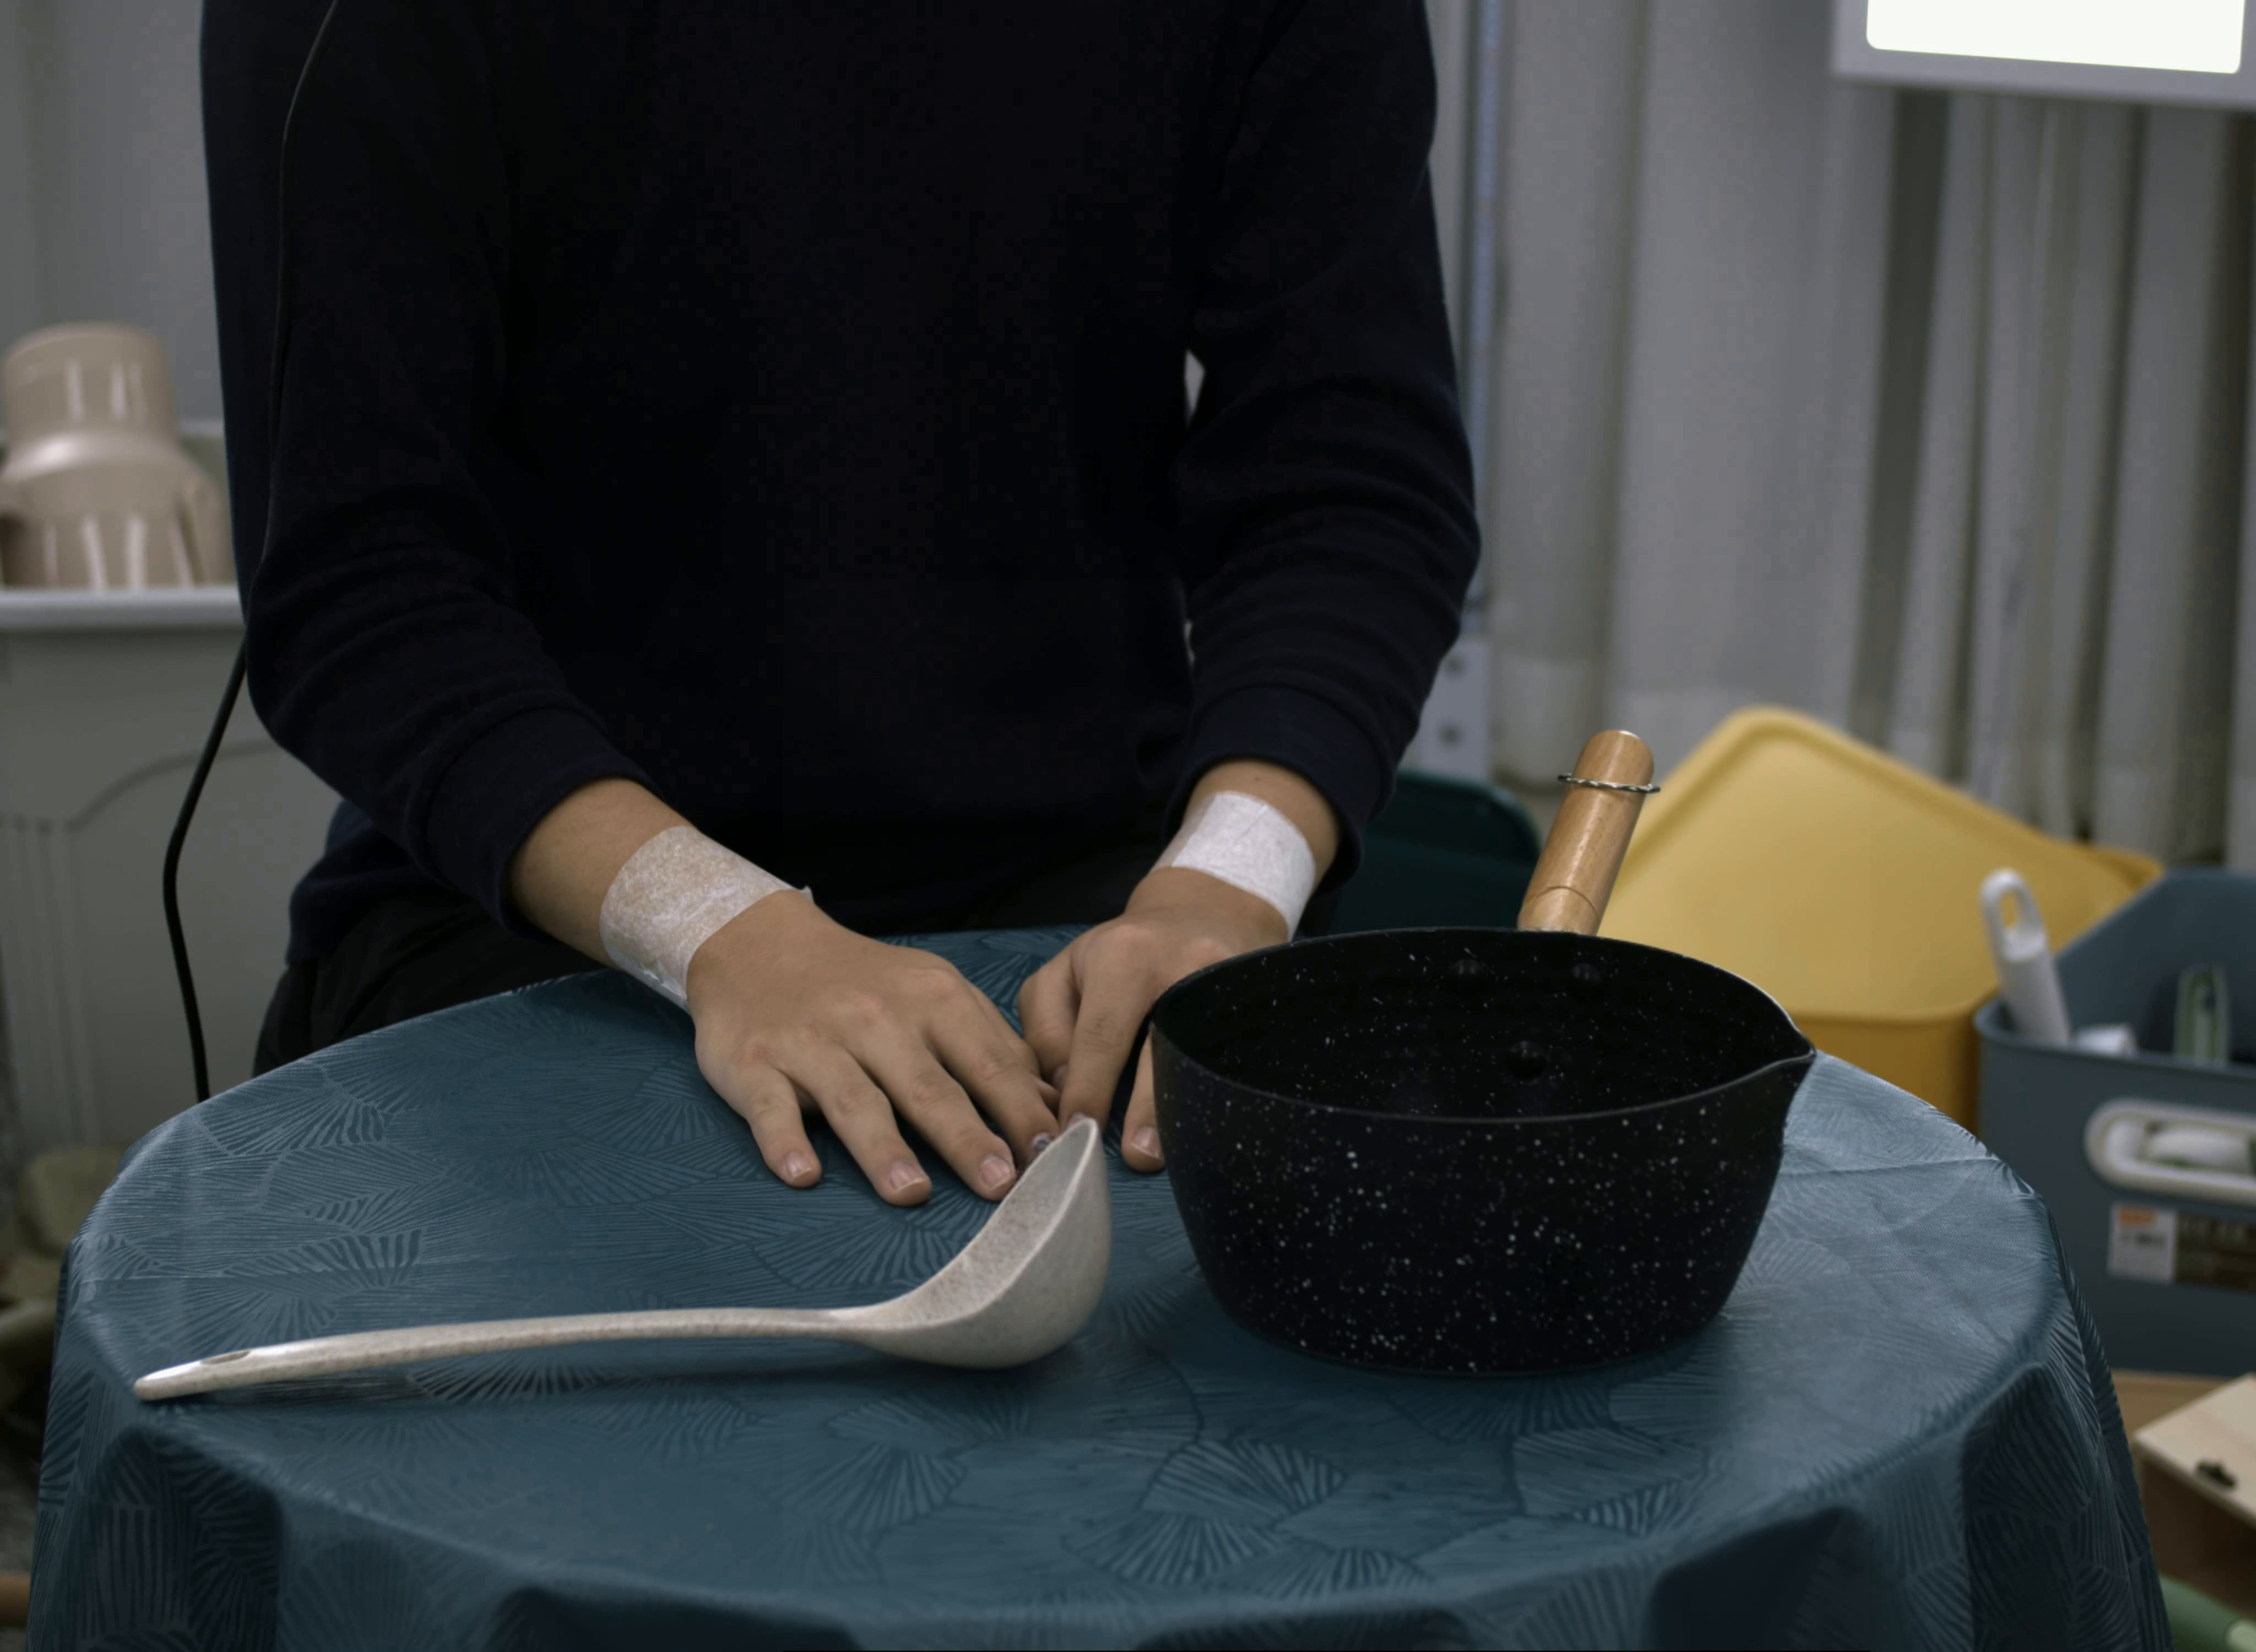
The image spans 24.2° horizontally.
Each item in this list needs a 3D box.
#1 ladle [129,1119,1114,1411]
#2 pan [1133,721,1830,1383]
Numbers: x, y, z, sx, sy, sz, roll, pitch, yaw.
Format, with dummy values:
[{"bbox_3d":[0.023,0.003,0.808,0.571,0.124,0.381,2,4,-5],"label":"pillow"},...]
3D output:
[{"bbox_3d":[-0.140,0.121,1.463,0.274,0.070,0.089,-2,10,-6],"label":"ladle"},{"bbox_3d":[0.118,0.063,1.600,0.206,0.109,0.342,3,17,13],"label":"pan"}]
